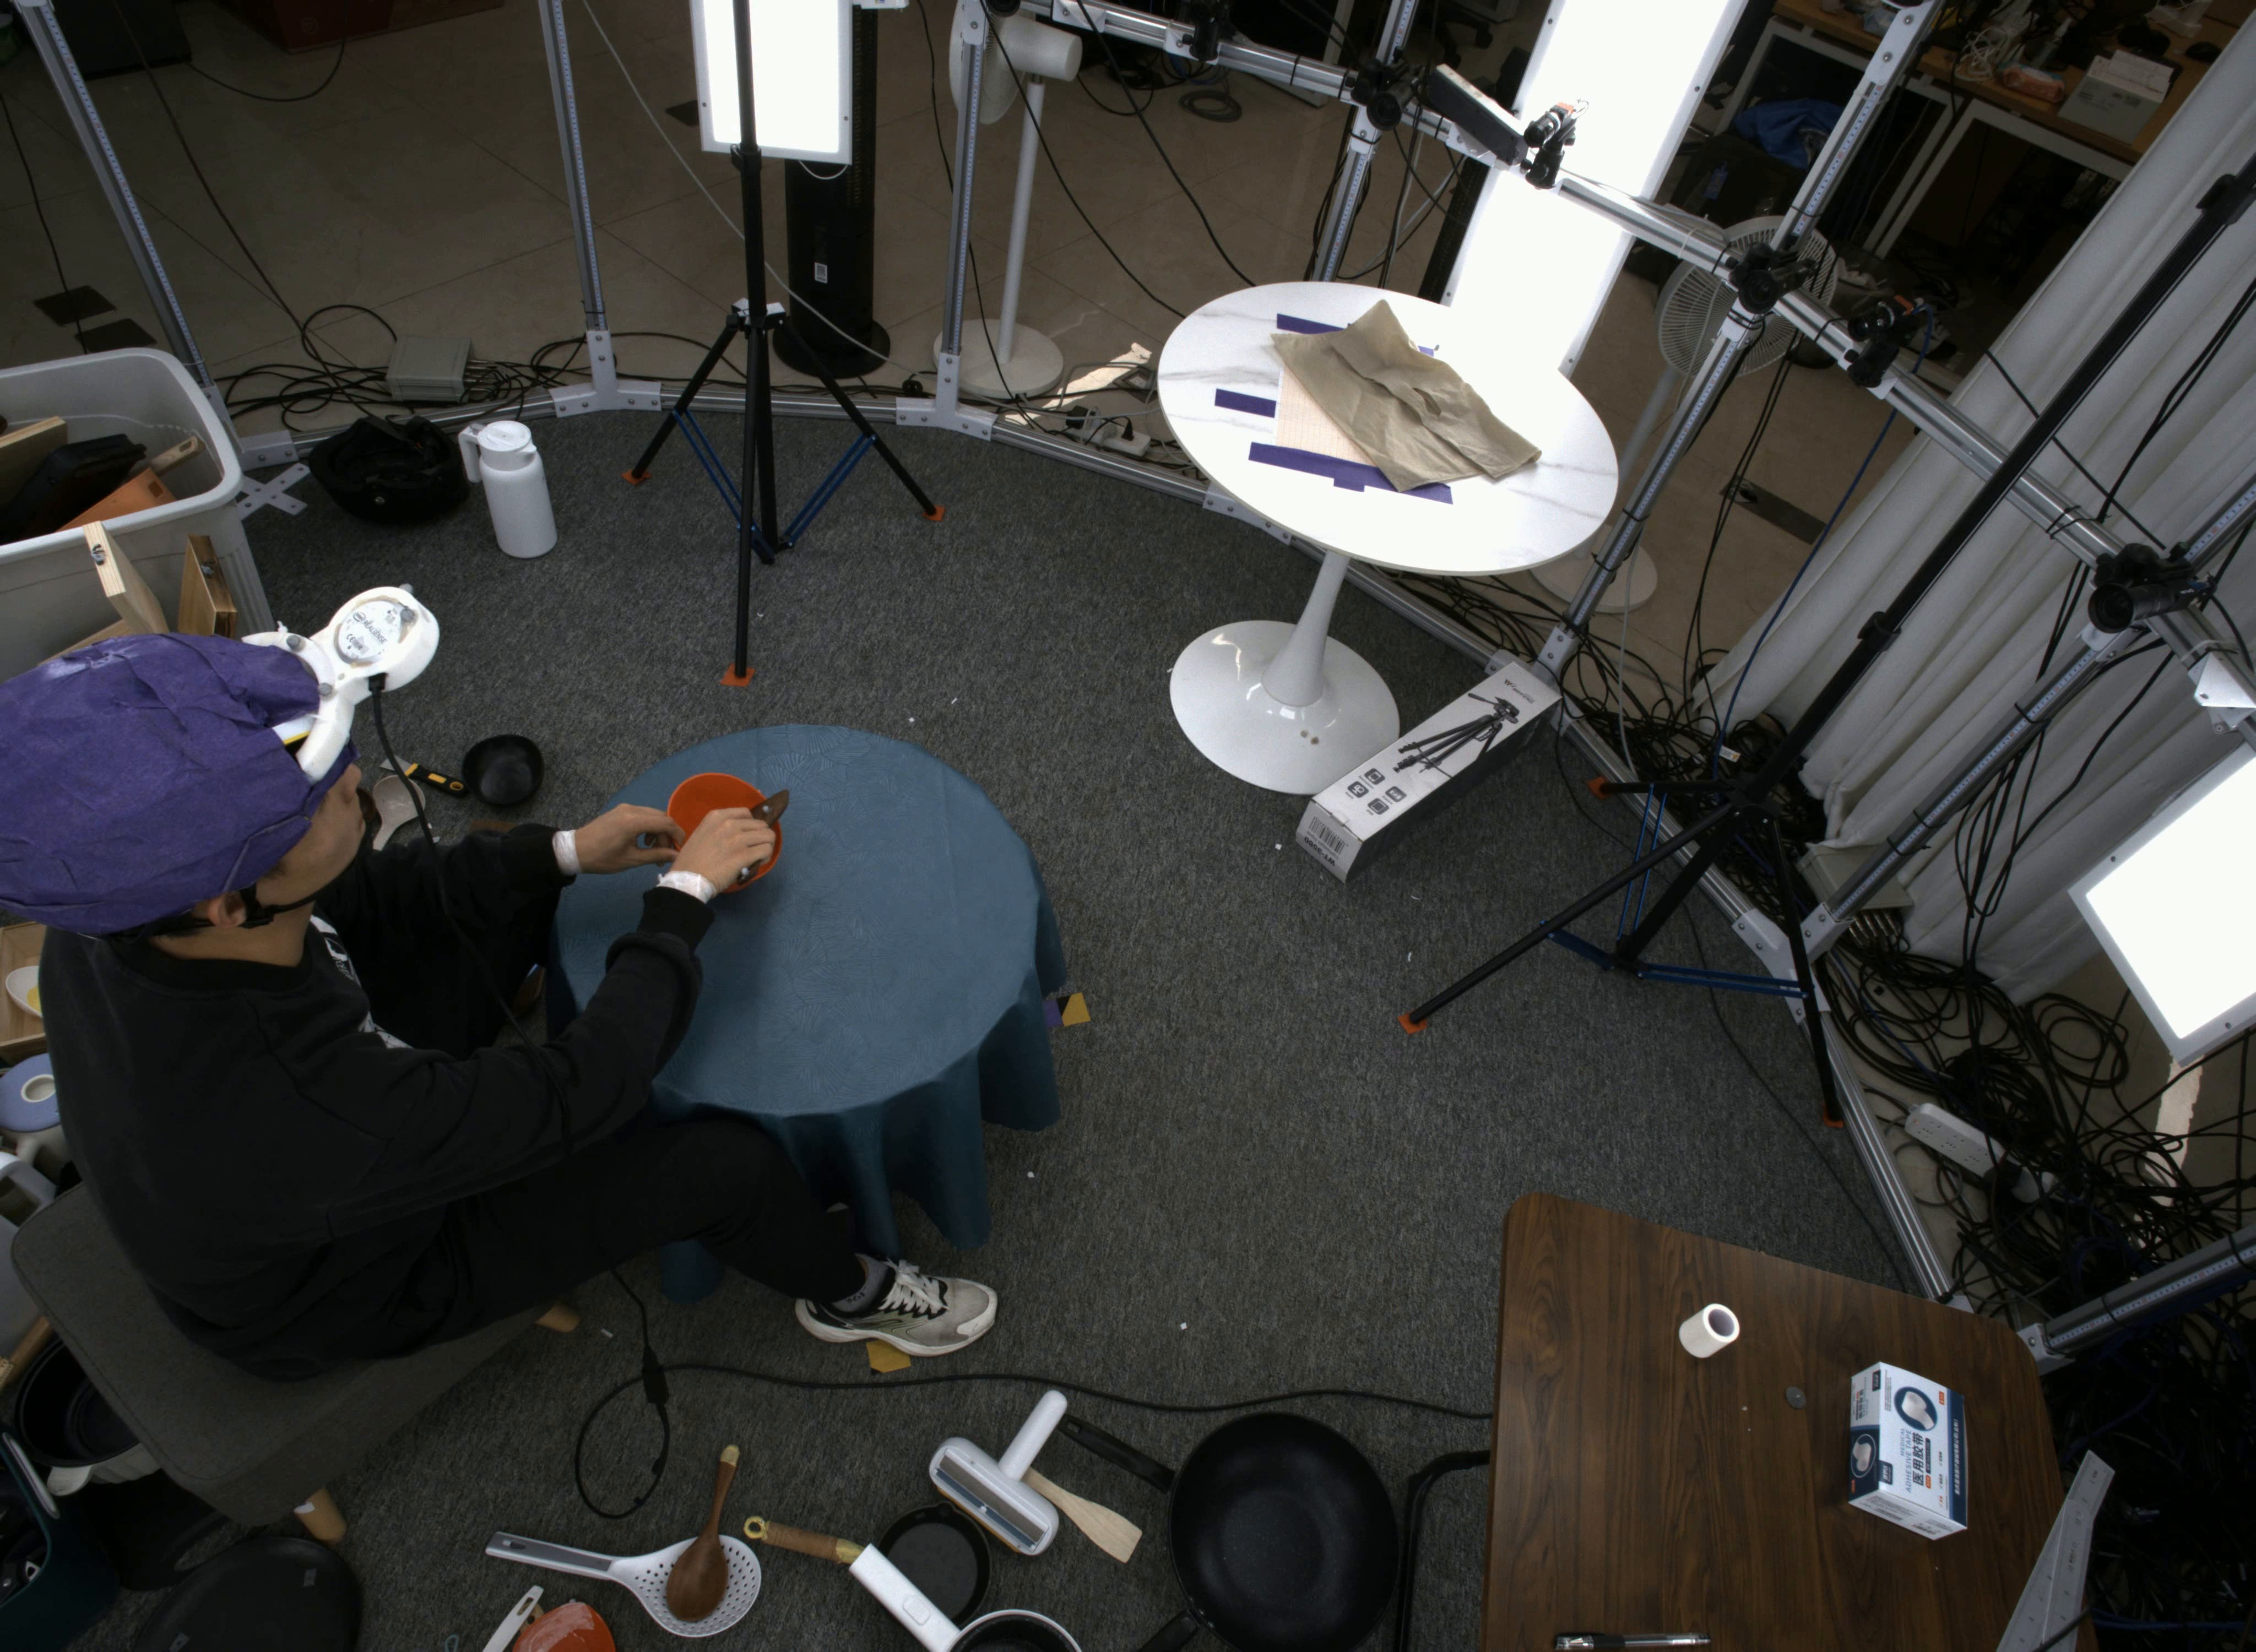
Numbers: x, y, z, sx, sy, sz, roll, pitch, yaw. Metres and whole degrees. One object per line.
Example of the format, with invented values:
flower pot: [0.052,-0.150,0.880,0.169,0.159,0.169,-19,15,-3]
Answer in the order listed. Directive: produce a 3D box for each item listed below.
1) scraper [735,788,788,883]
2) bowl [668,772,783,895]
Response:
scraper: [-0.445,0.013,1.547,0.075,0.011,0.206,-31,26,7]
bowl: [-0.512,0.021,1.612,0.150,0.105,0.145,21,46,-22]
